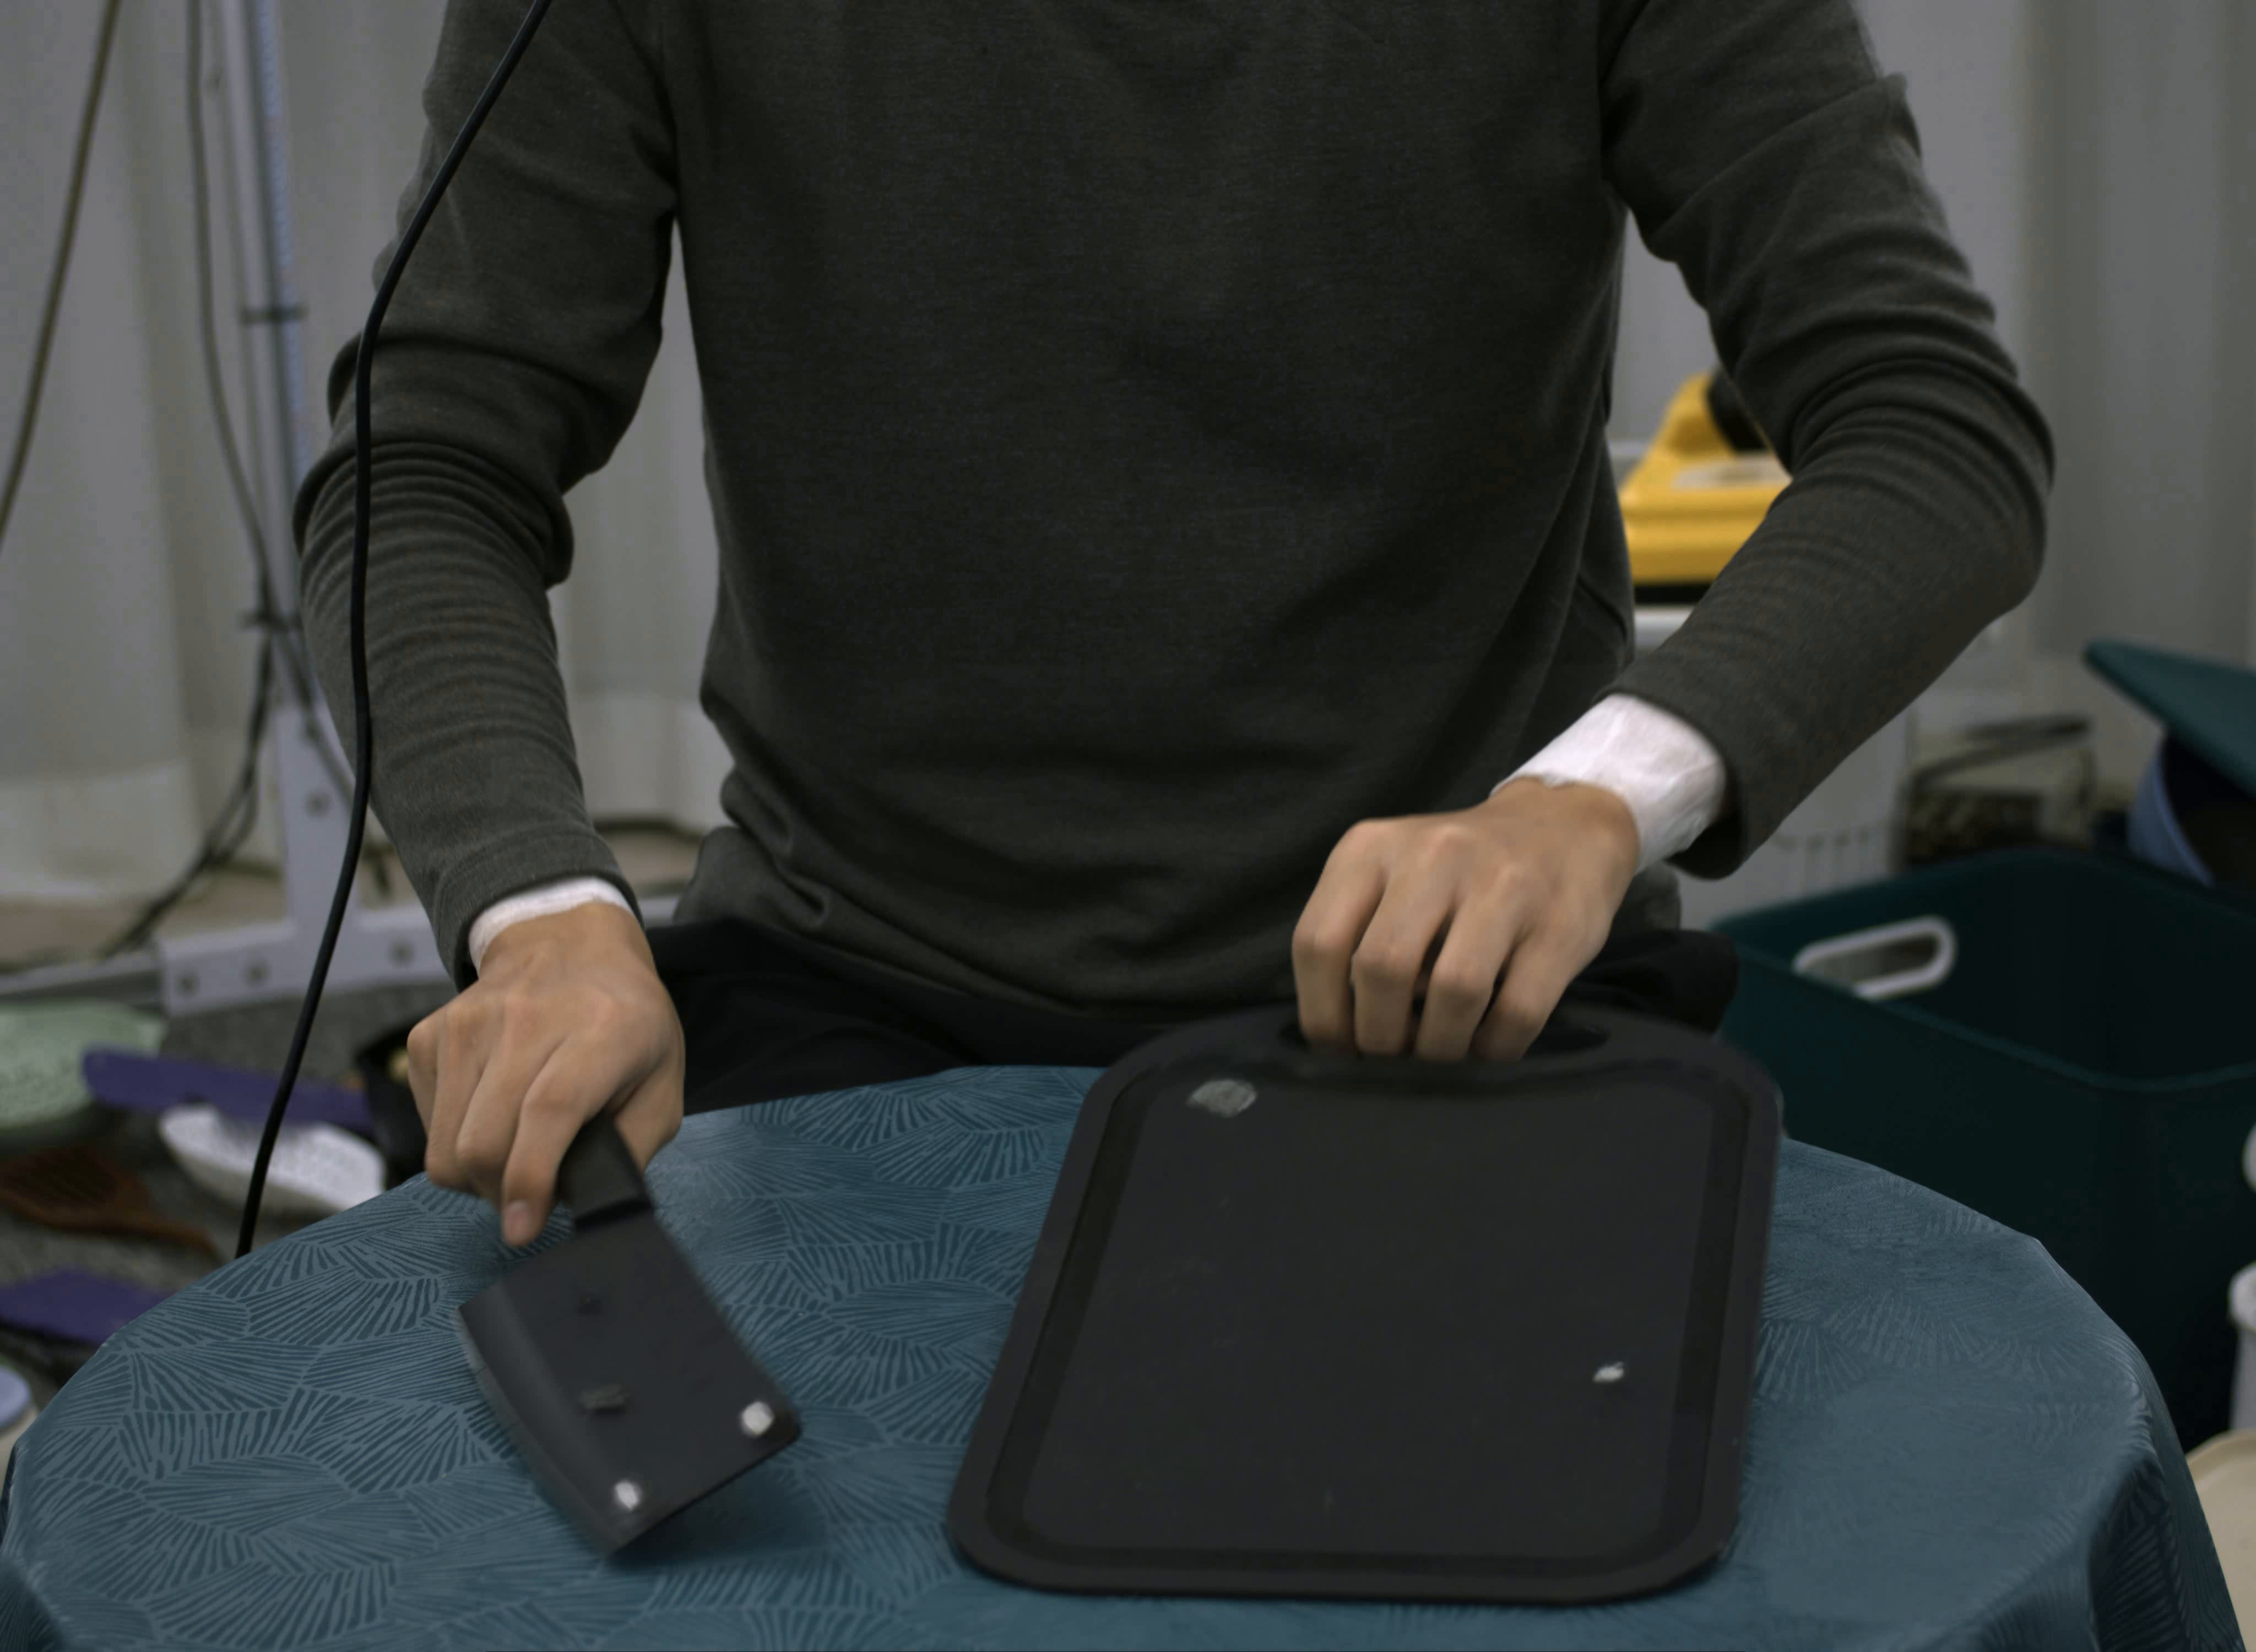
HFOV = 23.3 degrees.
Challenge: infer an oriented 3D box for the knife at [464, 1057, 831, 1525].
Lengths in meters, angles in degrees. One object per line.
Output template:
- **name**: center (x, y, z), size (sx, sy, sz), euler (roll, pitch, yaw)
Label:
- **knife**: center (-0.152, 0.128, 1.573), size (0.081, 0.020, 0.305), euler (-29, 24, -6)

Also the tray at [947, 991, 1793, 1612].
- **tray**: center (0.075, 0.123, 1.537), size (0.211, 0.010, 0.328), euler (1, 27, 11)
